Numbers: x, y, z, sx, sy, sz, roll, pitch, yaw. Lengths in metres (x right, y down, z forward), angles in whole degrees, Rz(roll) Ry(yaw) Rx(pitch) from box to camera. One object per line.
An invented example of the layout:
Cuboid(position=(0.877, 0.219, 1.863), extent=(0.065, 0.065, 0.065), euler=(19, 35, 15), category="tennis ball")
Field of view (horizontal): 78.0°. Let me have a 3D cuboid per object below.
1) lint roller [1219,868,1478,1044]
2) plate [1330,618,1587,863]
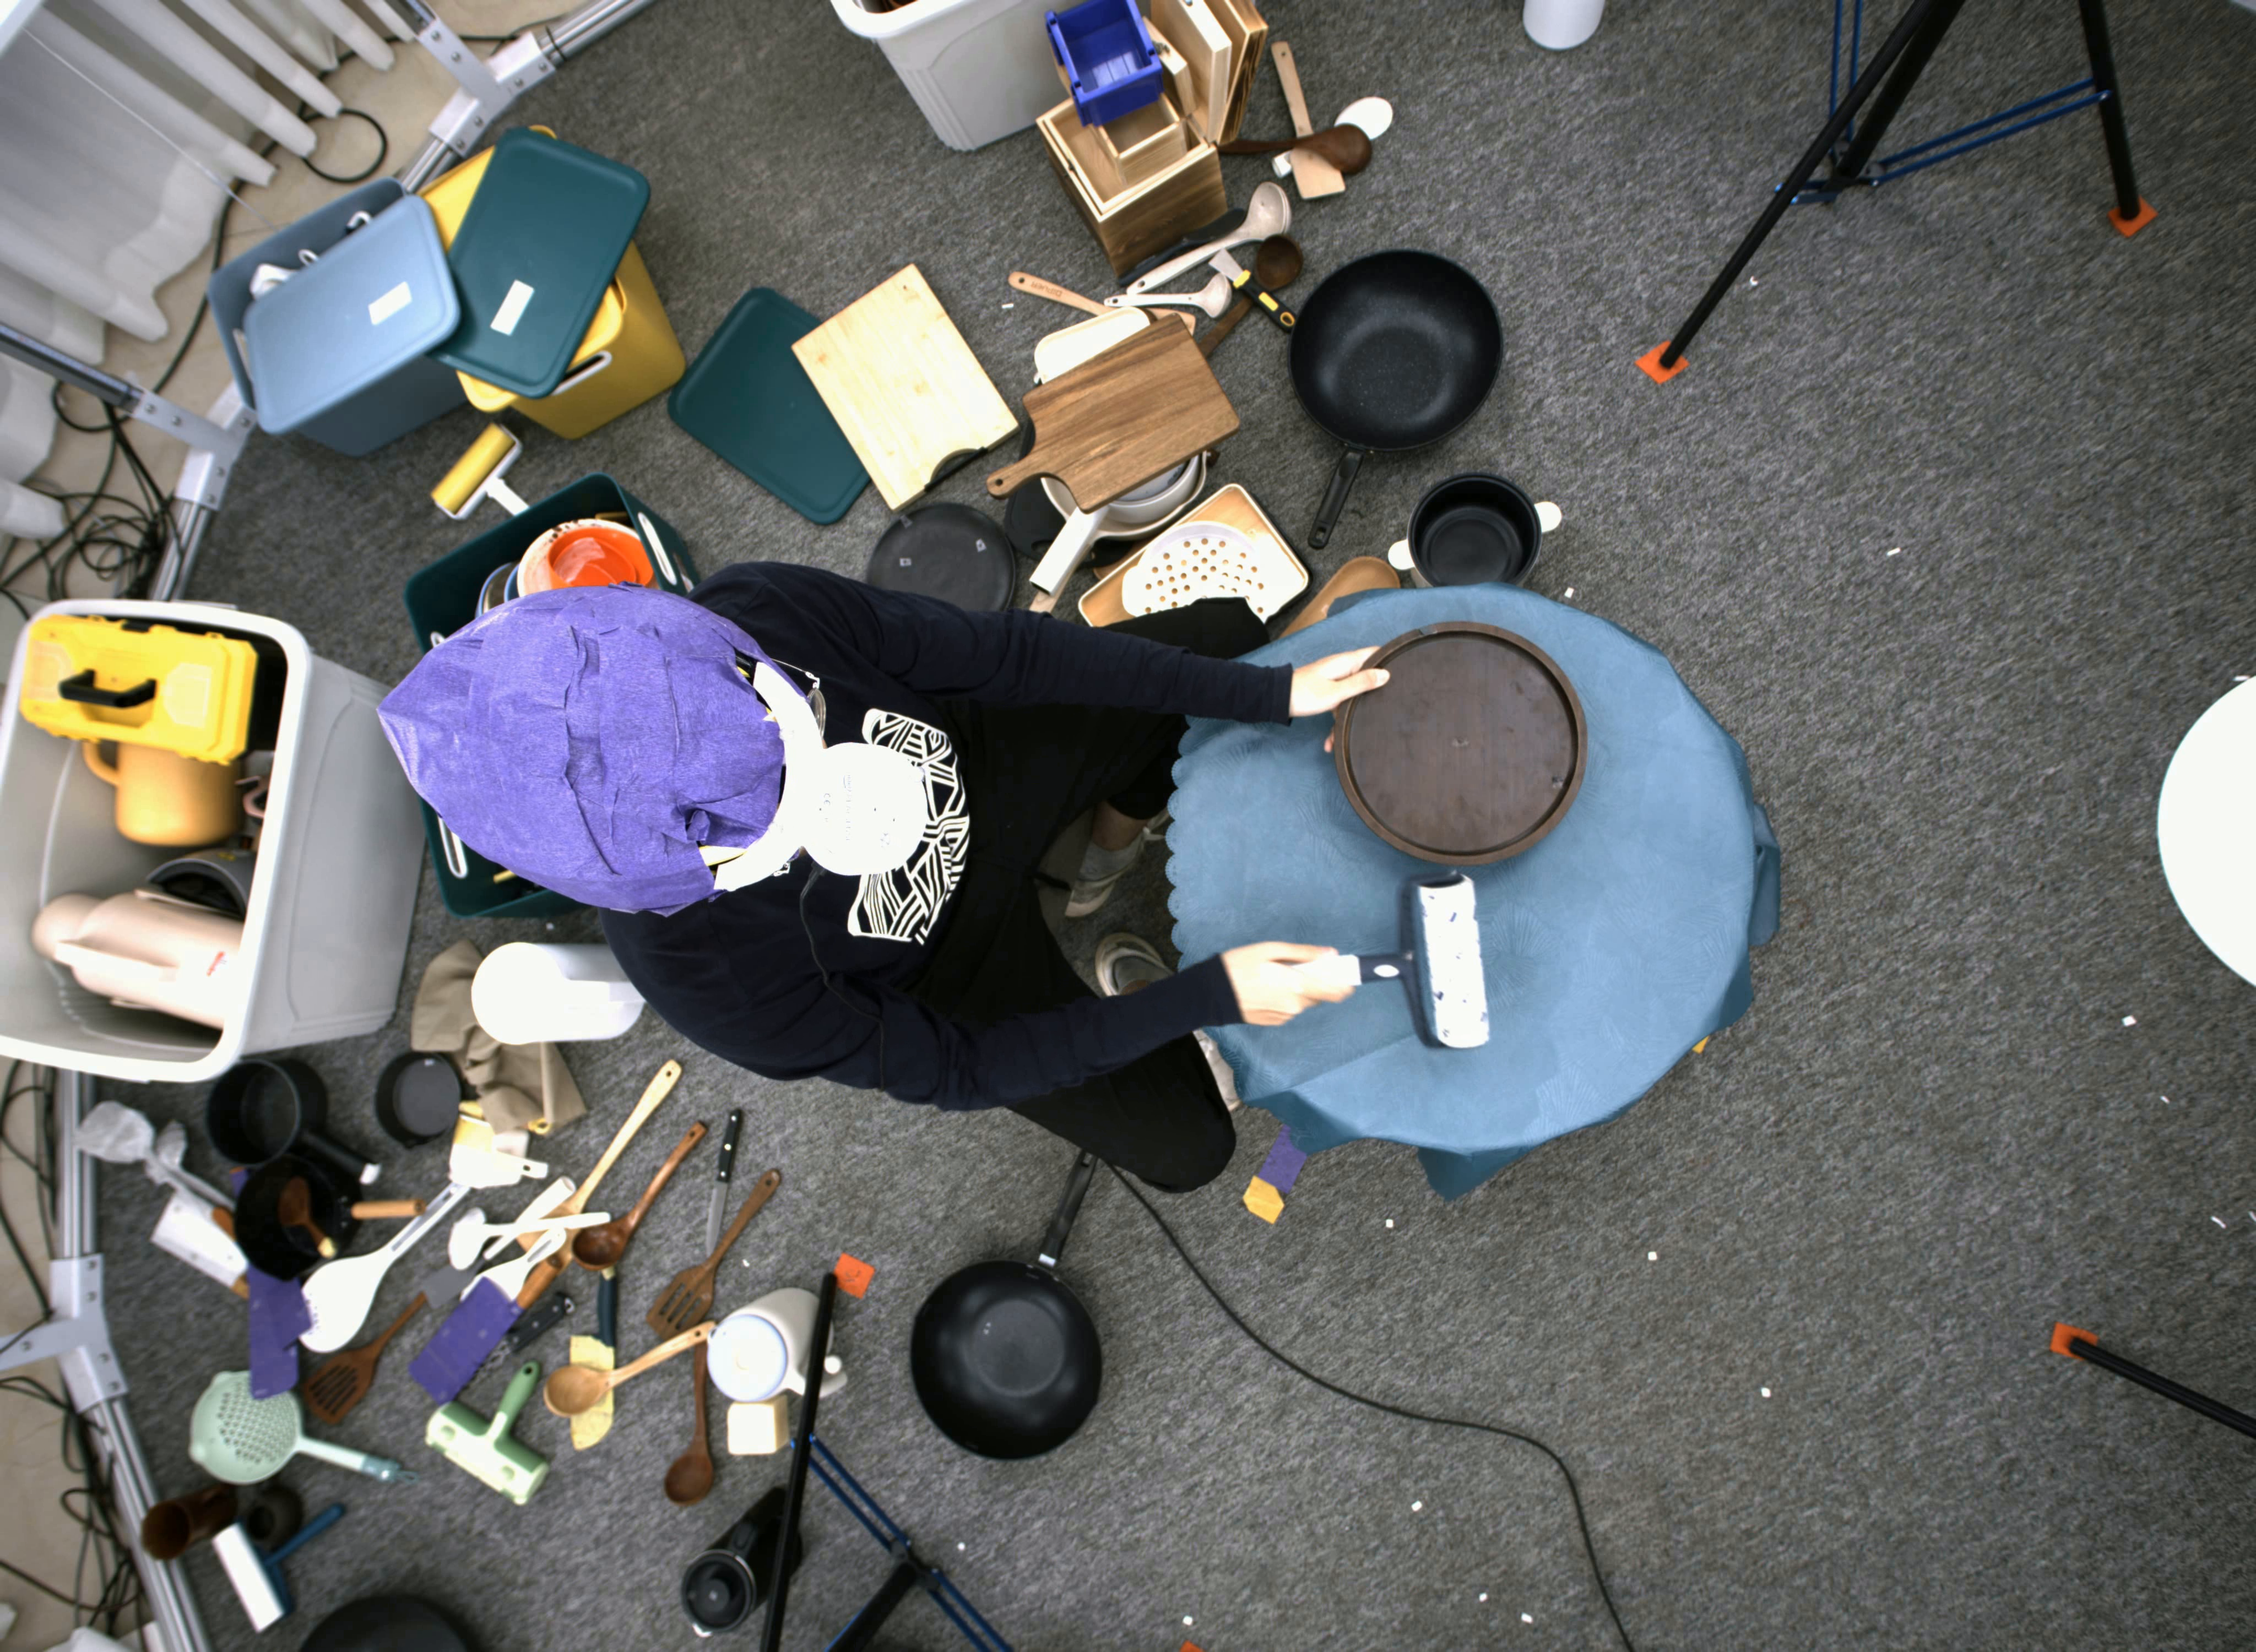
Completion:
Cuboid(position=(0.209, 0.138, 1.352), extent=(0.248, 0.049, 0.178), euler=(-8, 109, 14), category="lint roller")
Cuboid(position=(0.332, -0.088, 1.386), extent=(0.256, 0.029, 0.253), euler=(-2, 83, 11), category="plate")
